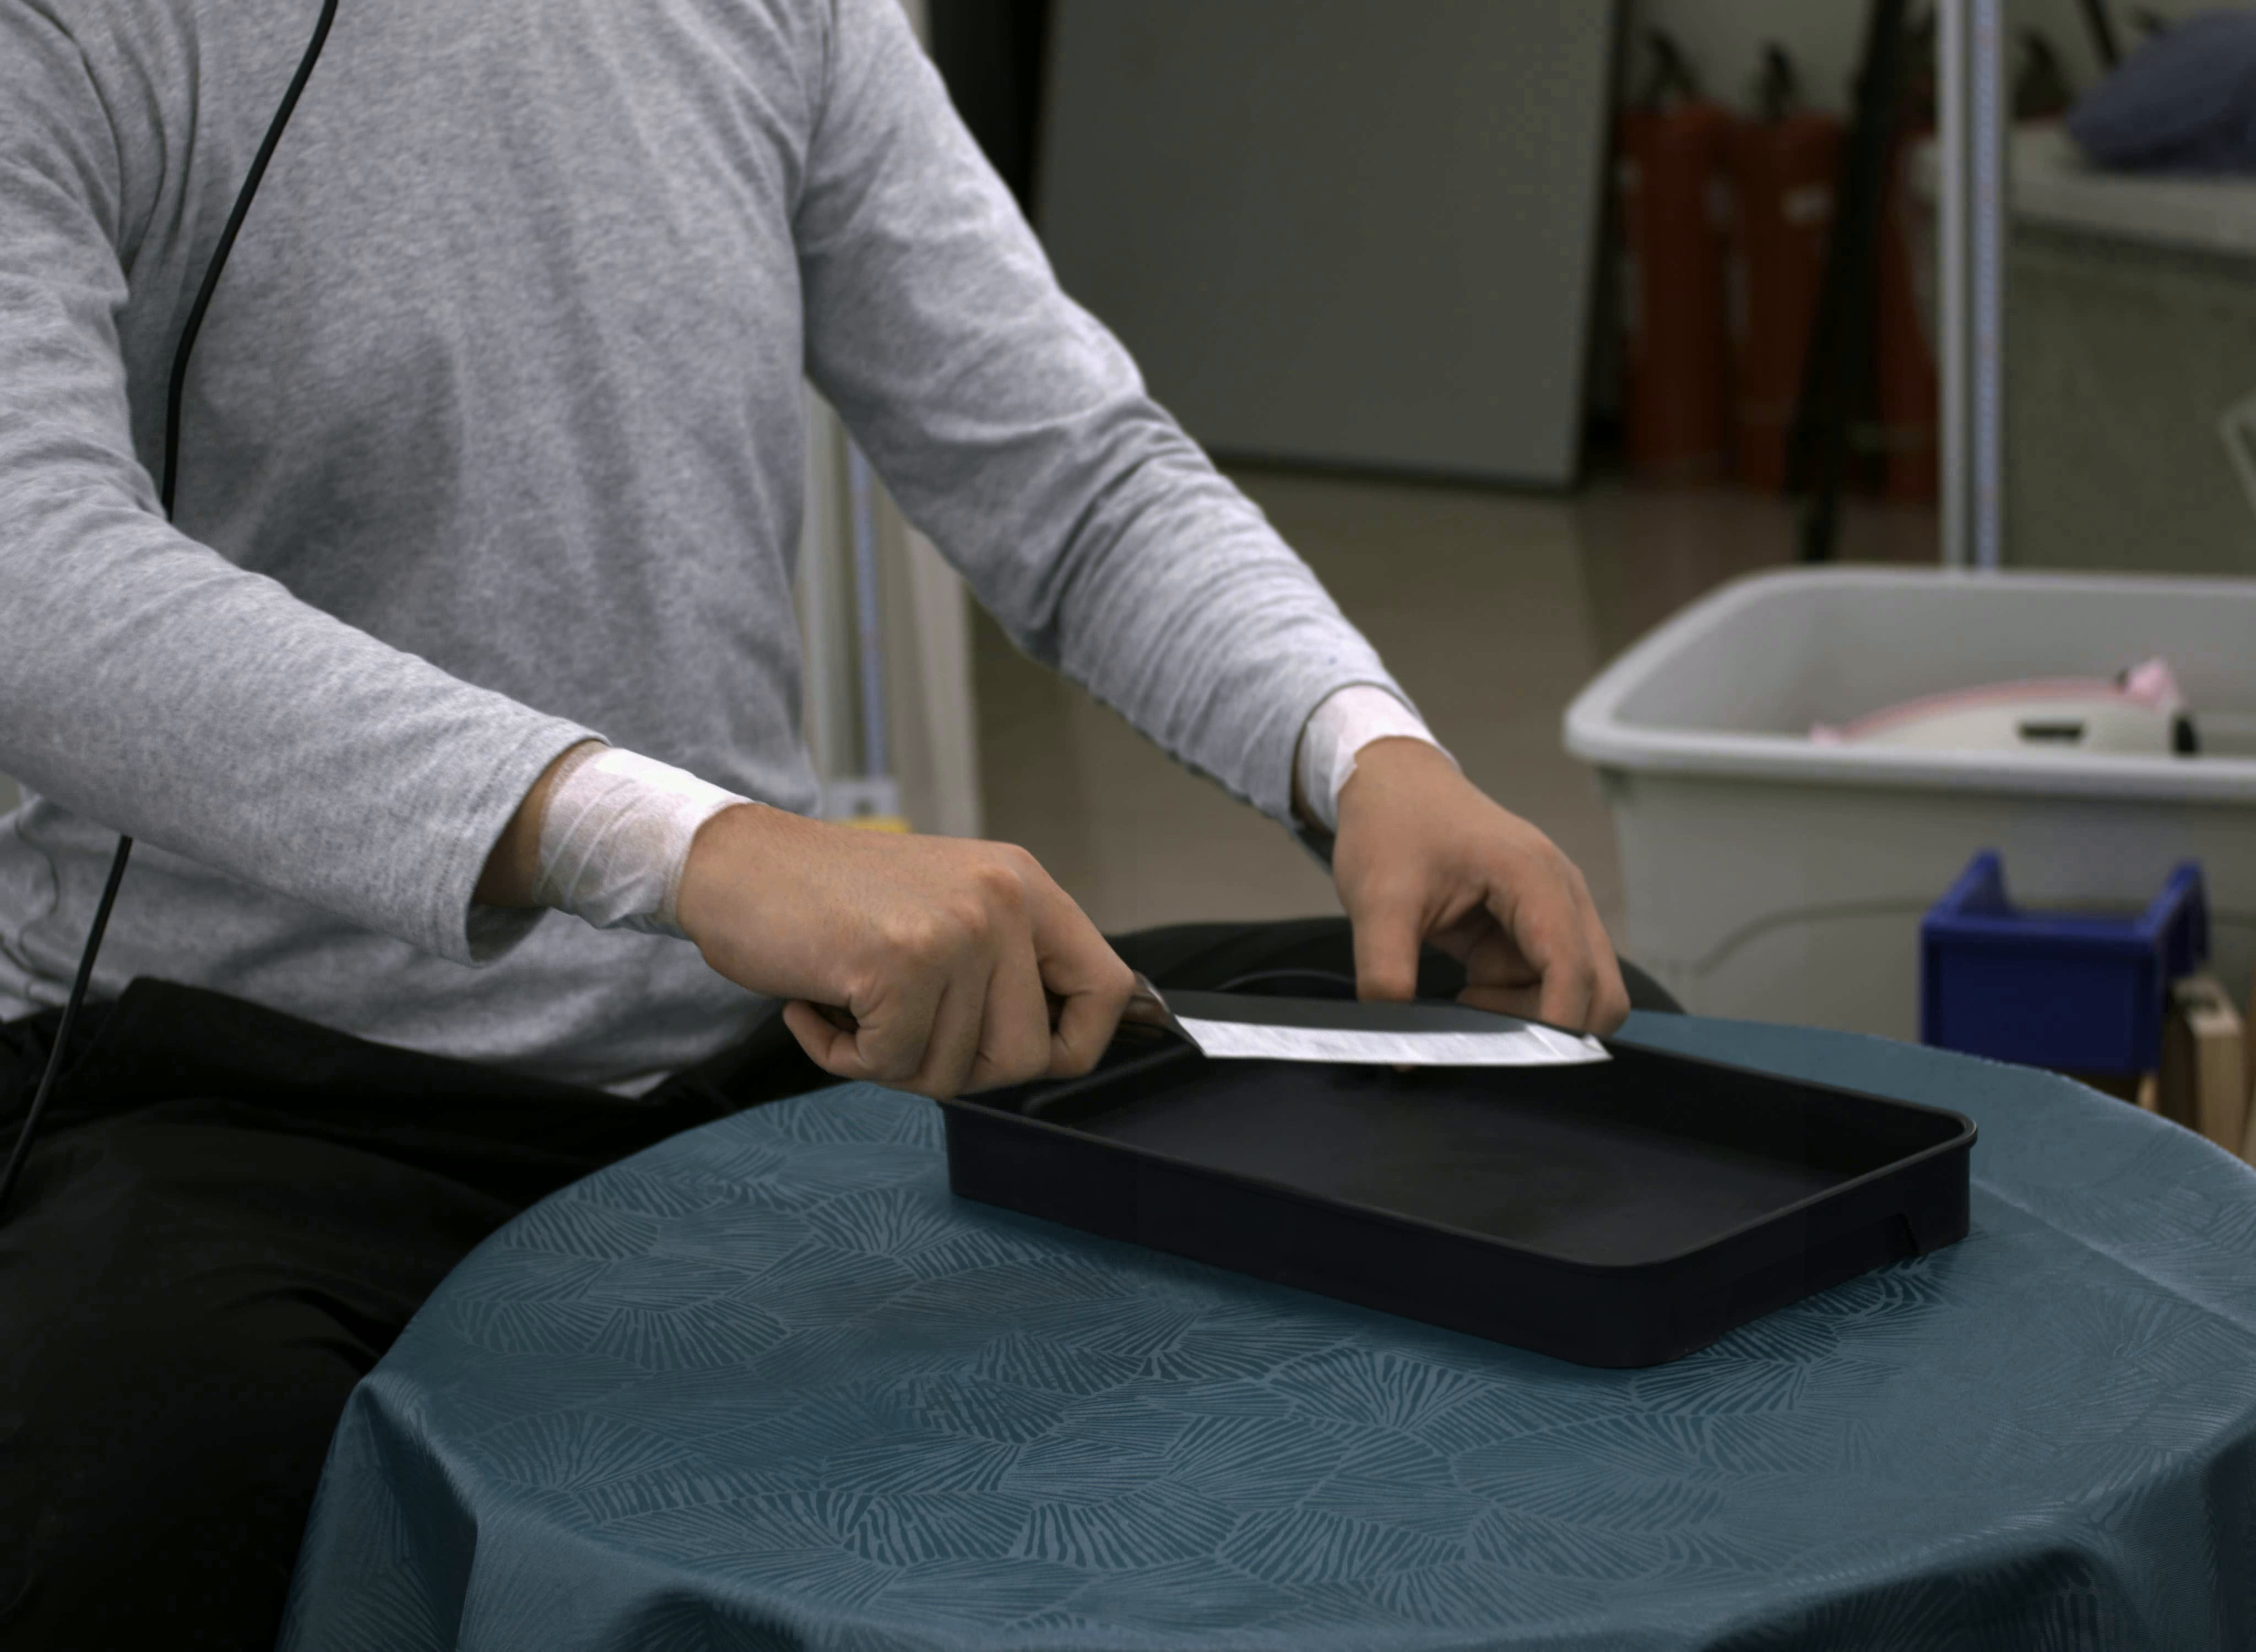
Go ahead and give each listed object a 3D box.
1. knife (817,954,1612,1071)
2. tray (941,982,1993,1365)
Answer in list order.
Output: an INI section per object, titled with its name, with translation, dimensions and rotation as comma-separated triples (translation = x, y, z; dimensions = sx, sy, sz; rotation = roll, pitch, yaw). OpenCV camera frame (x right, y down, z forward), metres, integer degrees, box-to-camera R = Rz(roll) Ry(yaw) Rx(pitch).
[knife]
translation = 0.033, 0.062, 1.682
dimensions = 0.282, 0.020, 0.051
rotation = 6, 24, -29
[tray]
translation = 0.105, 0.107, 1.728
dimensions = 0.321, 0.037, 0.180
rotation = 9, 19, 44
